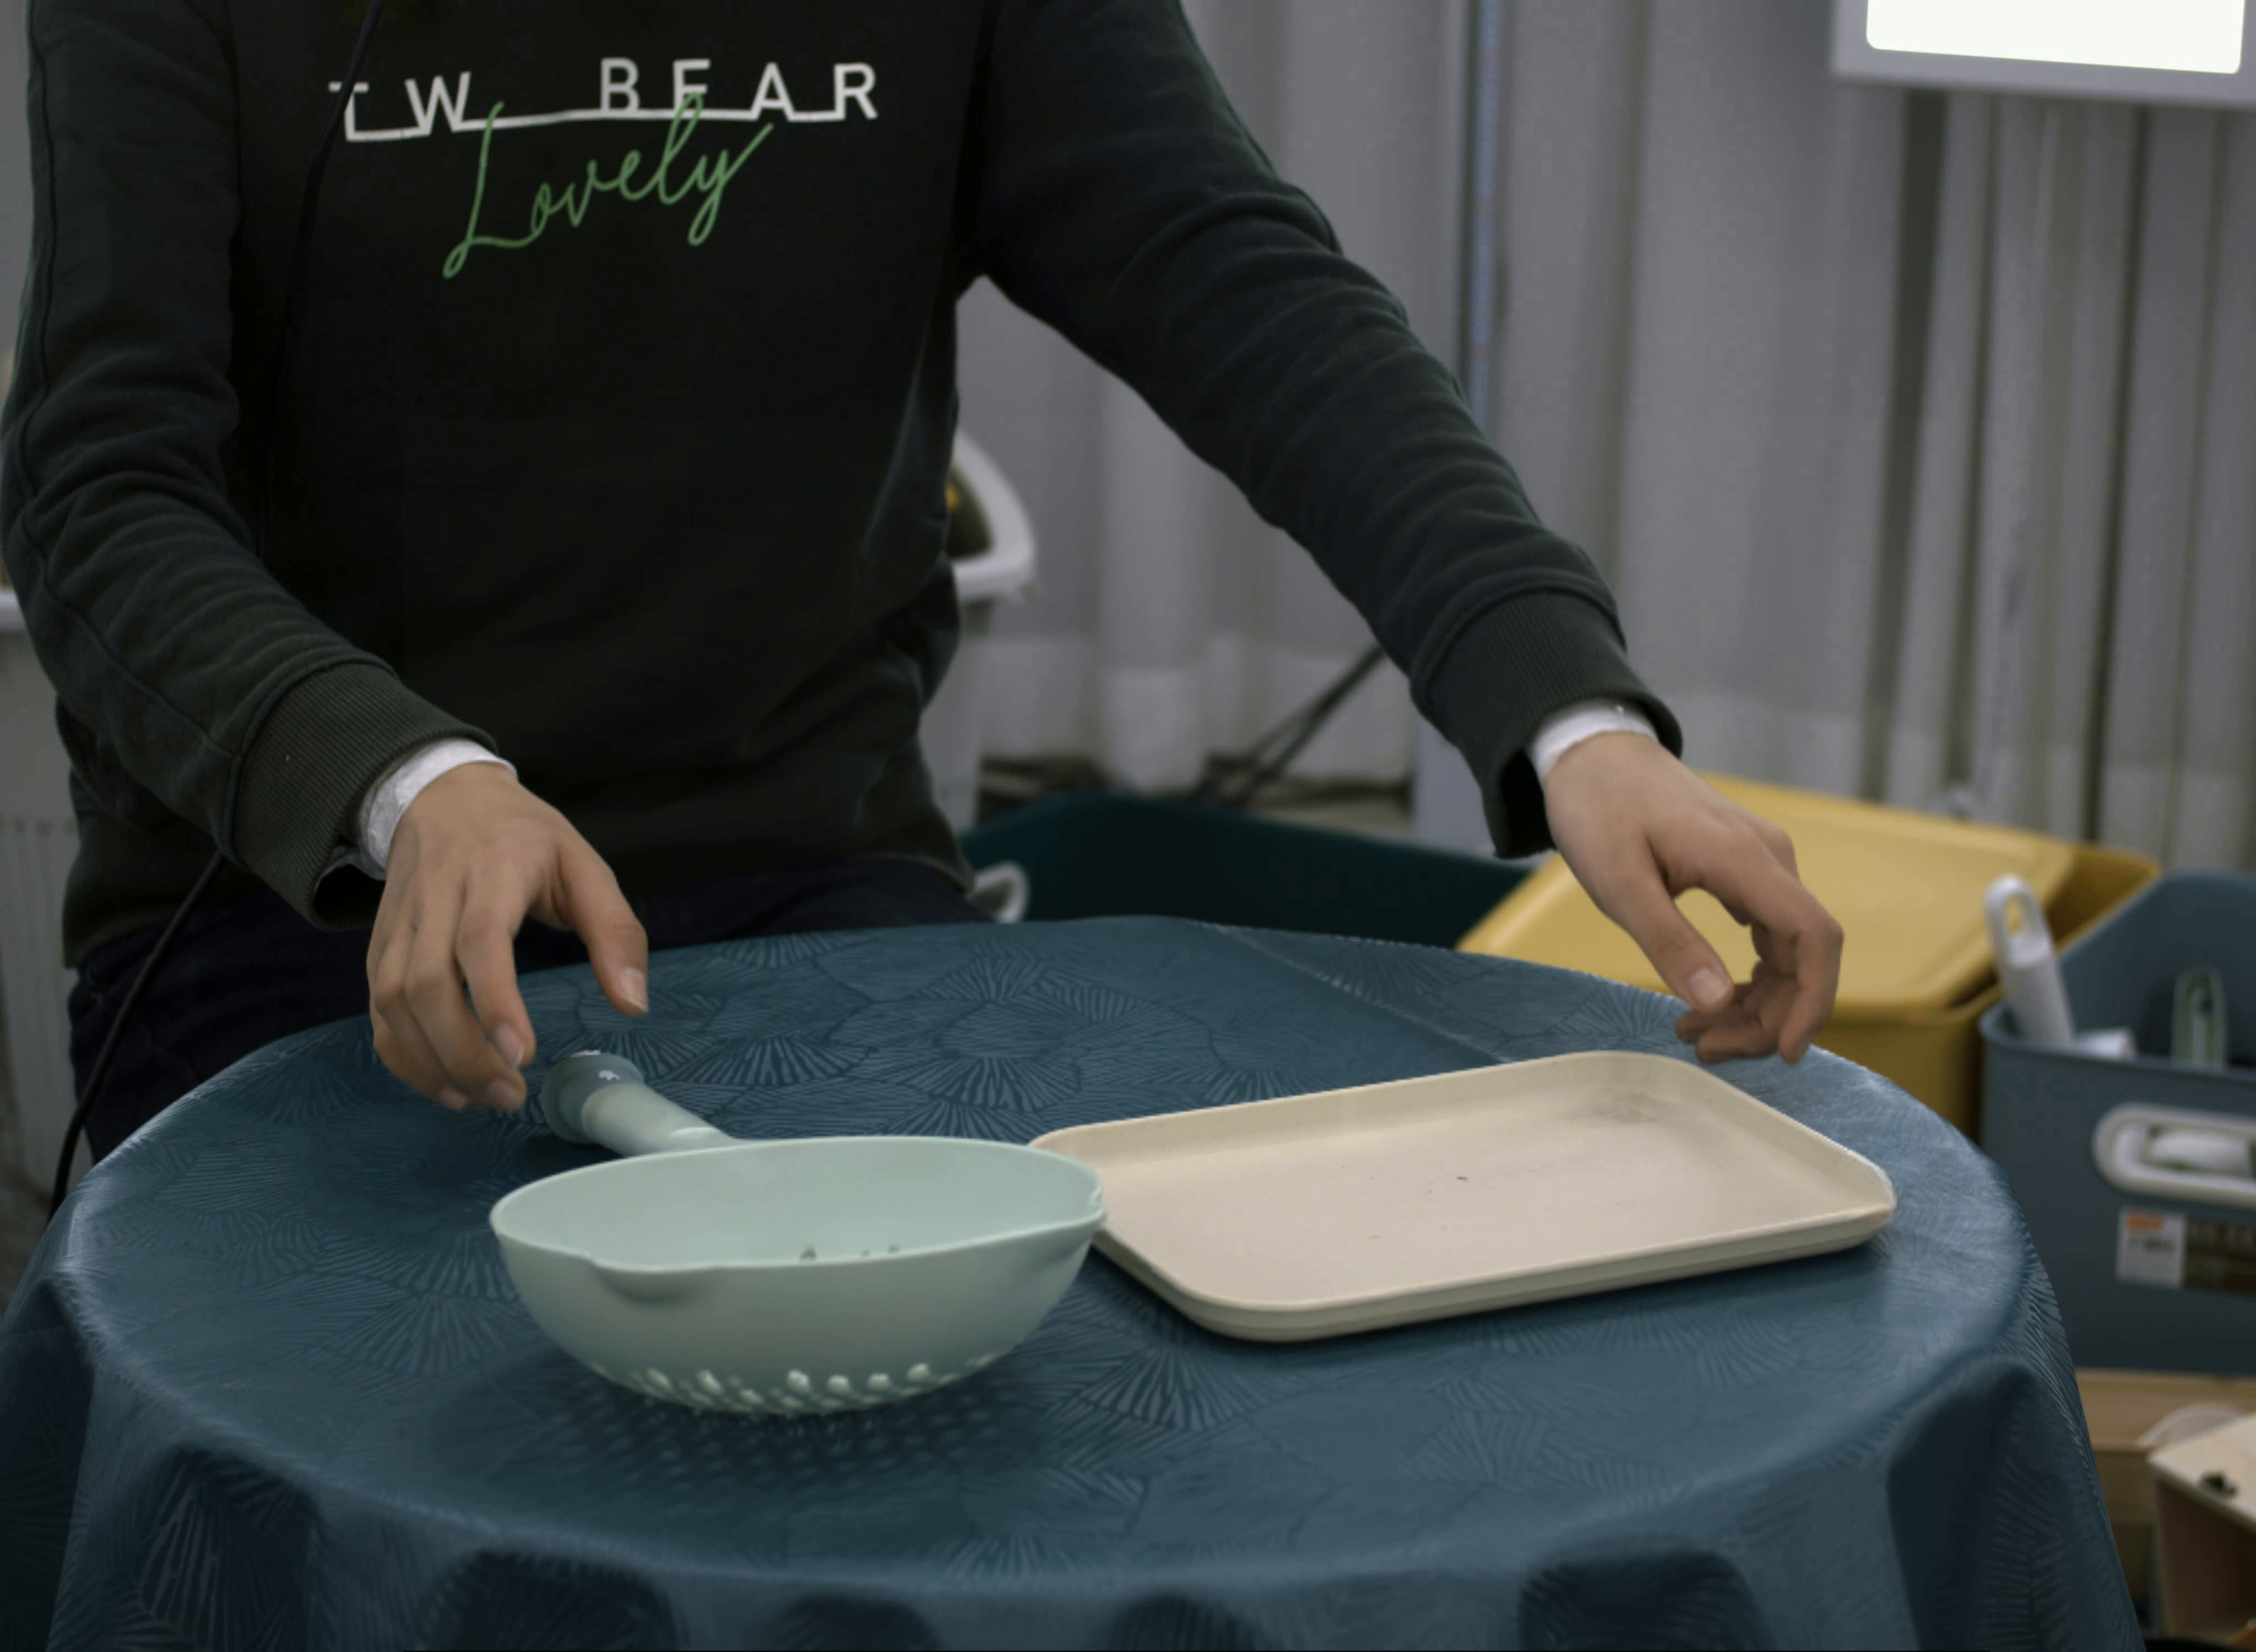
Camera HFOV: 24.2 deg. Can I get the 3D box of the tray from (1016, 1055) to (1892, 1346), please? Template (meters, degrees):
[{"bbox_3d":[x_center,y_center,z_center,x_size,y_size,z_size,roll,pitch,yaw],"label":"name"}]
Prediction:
[{"bbox_3d":[0.098,0.113,1.600,0.240,0.017,0.169,-6,18,-25],"label":"tray"}]

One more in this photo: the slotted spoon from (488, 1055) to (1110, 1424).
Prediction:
[{"bbox_3d":[-0.122,0.104,1.536,0.170,0.076,0.355,-4,16,-19],"label":"slotted spoon"}]
